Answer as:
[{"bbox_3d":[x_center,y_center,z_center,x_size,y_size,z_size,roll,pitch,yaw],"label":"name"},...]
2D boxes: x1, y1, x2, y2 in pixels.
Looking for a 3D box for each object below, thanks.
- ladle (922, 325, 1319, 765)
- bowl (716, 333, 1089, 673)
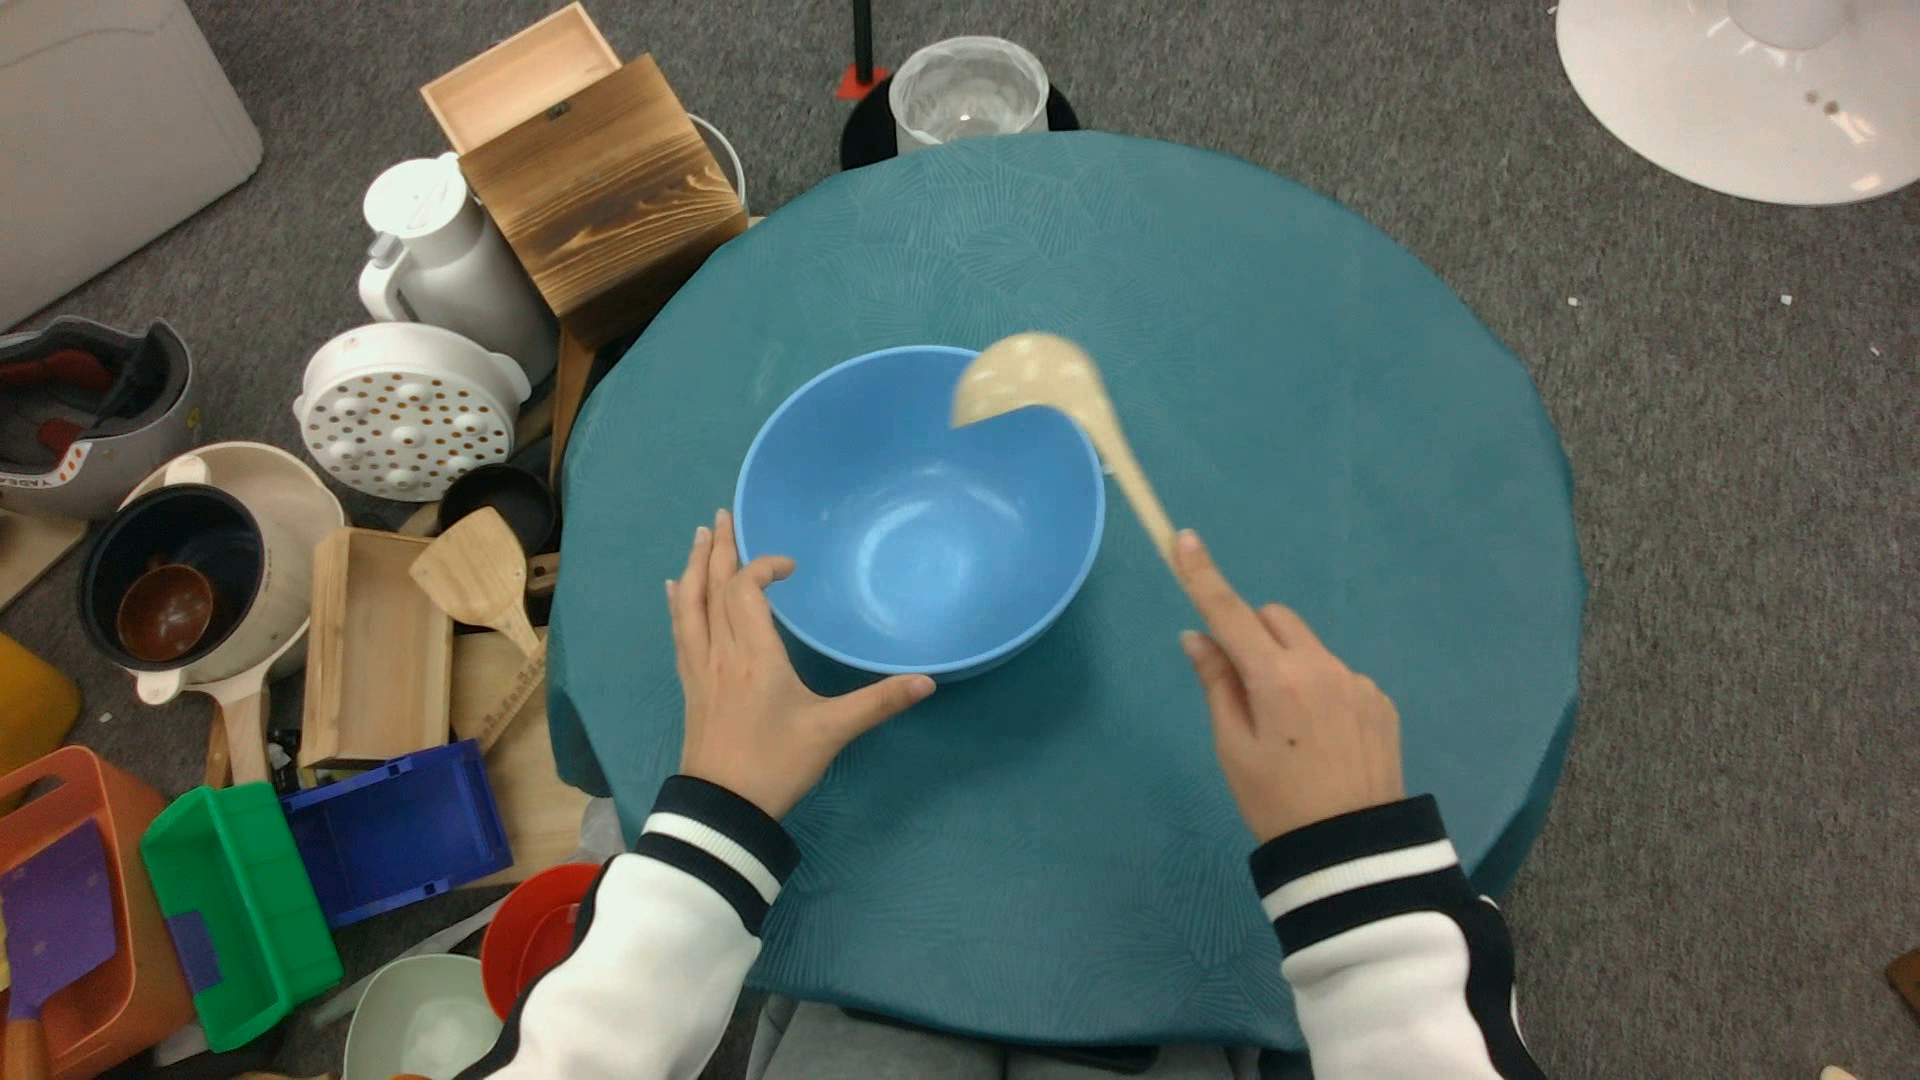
[{"bbox_3d":[0.069,0.009,0.639,0.072,0.072,0.255,-20,70,-38],"label":"ladle"},{"bbox_3d":[-0.030,-0.008,0.764,0.196,0.095,0.197,0,64,0],"label":"bowl"}]
